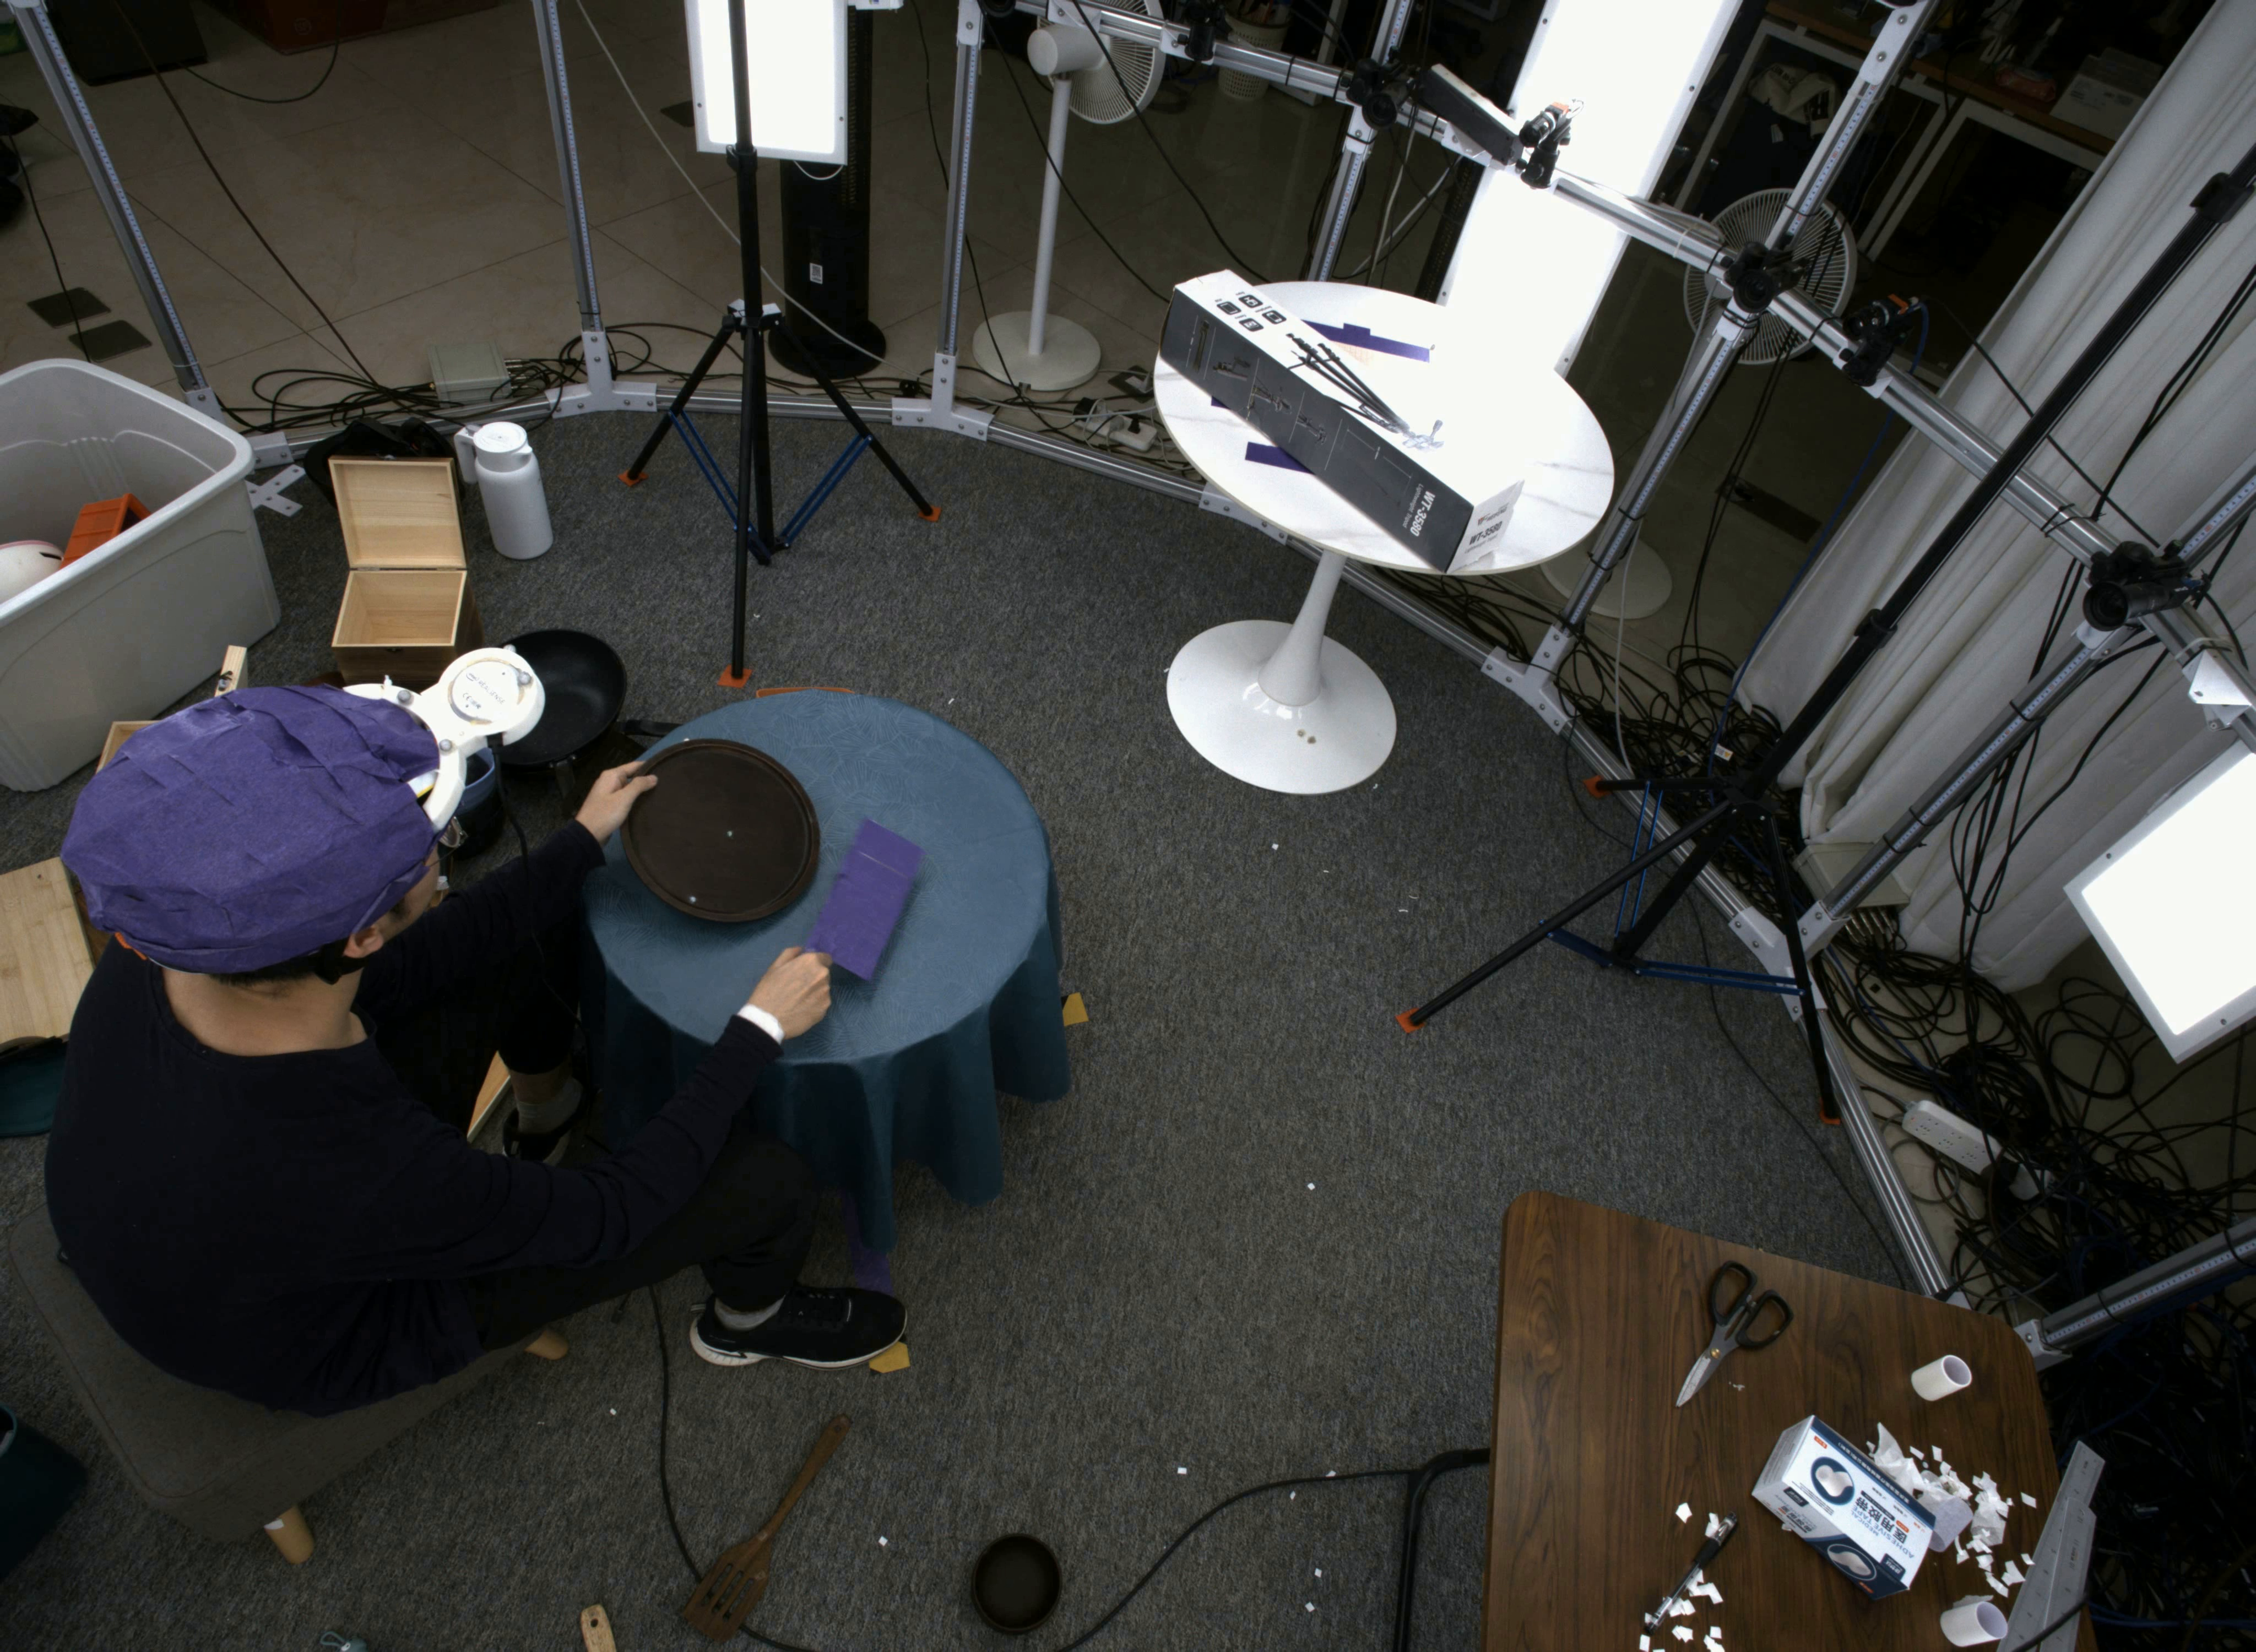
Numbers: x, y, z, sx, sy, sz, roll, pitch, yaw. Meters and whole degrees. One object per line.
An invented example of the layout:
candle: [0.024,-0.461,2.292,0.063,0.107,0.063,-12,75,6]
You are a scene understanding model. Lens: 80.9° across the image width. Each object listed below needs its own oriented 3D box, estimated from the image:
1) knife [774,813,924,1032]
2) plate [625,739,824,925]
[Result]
knife: [-0.333,0.124,1.601,0.106,0.032,0.312,34,53,-20]
plate: [-0.512,0.005,1.640,0.260,0.029,0.252,17,59,-28]
